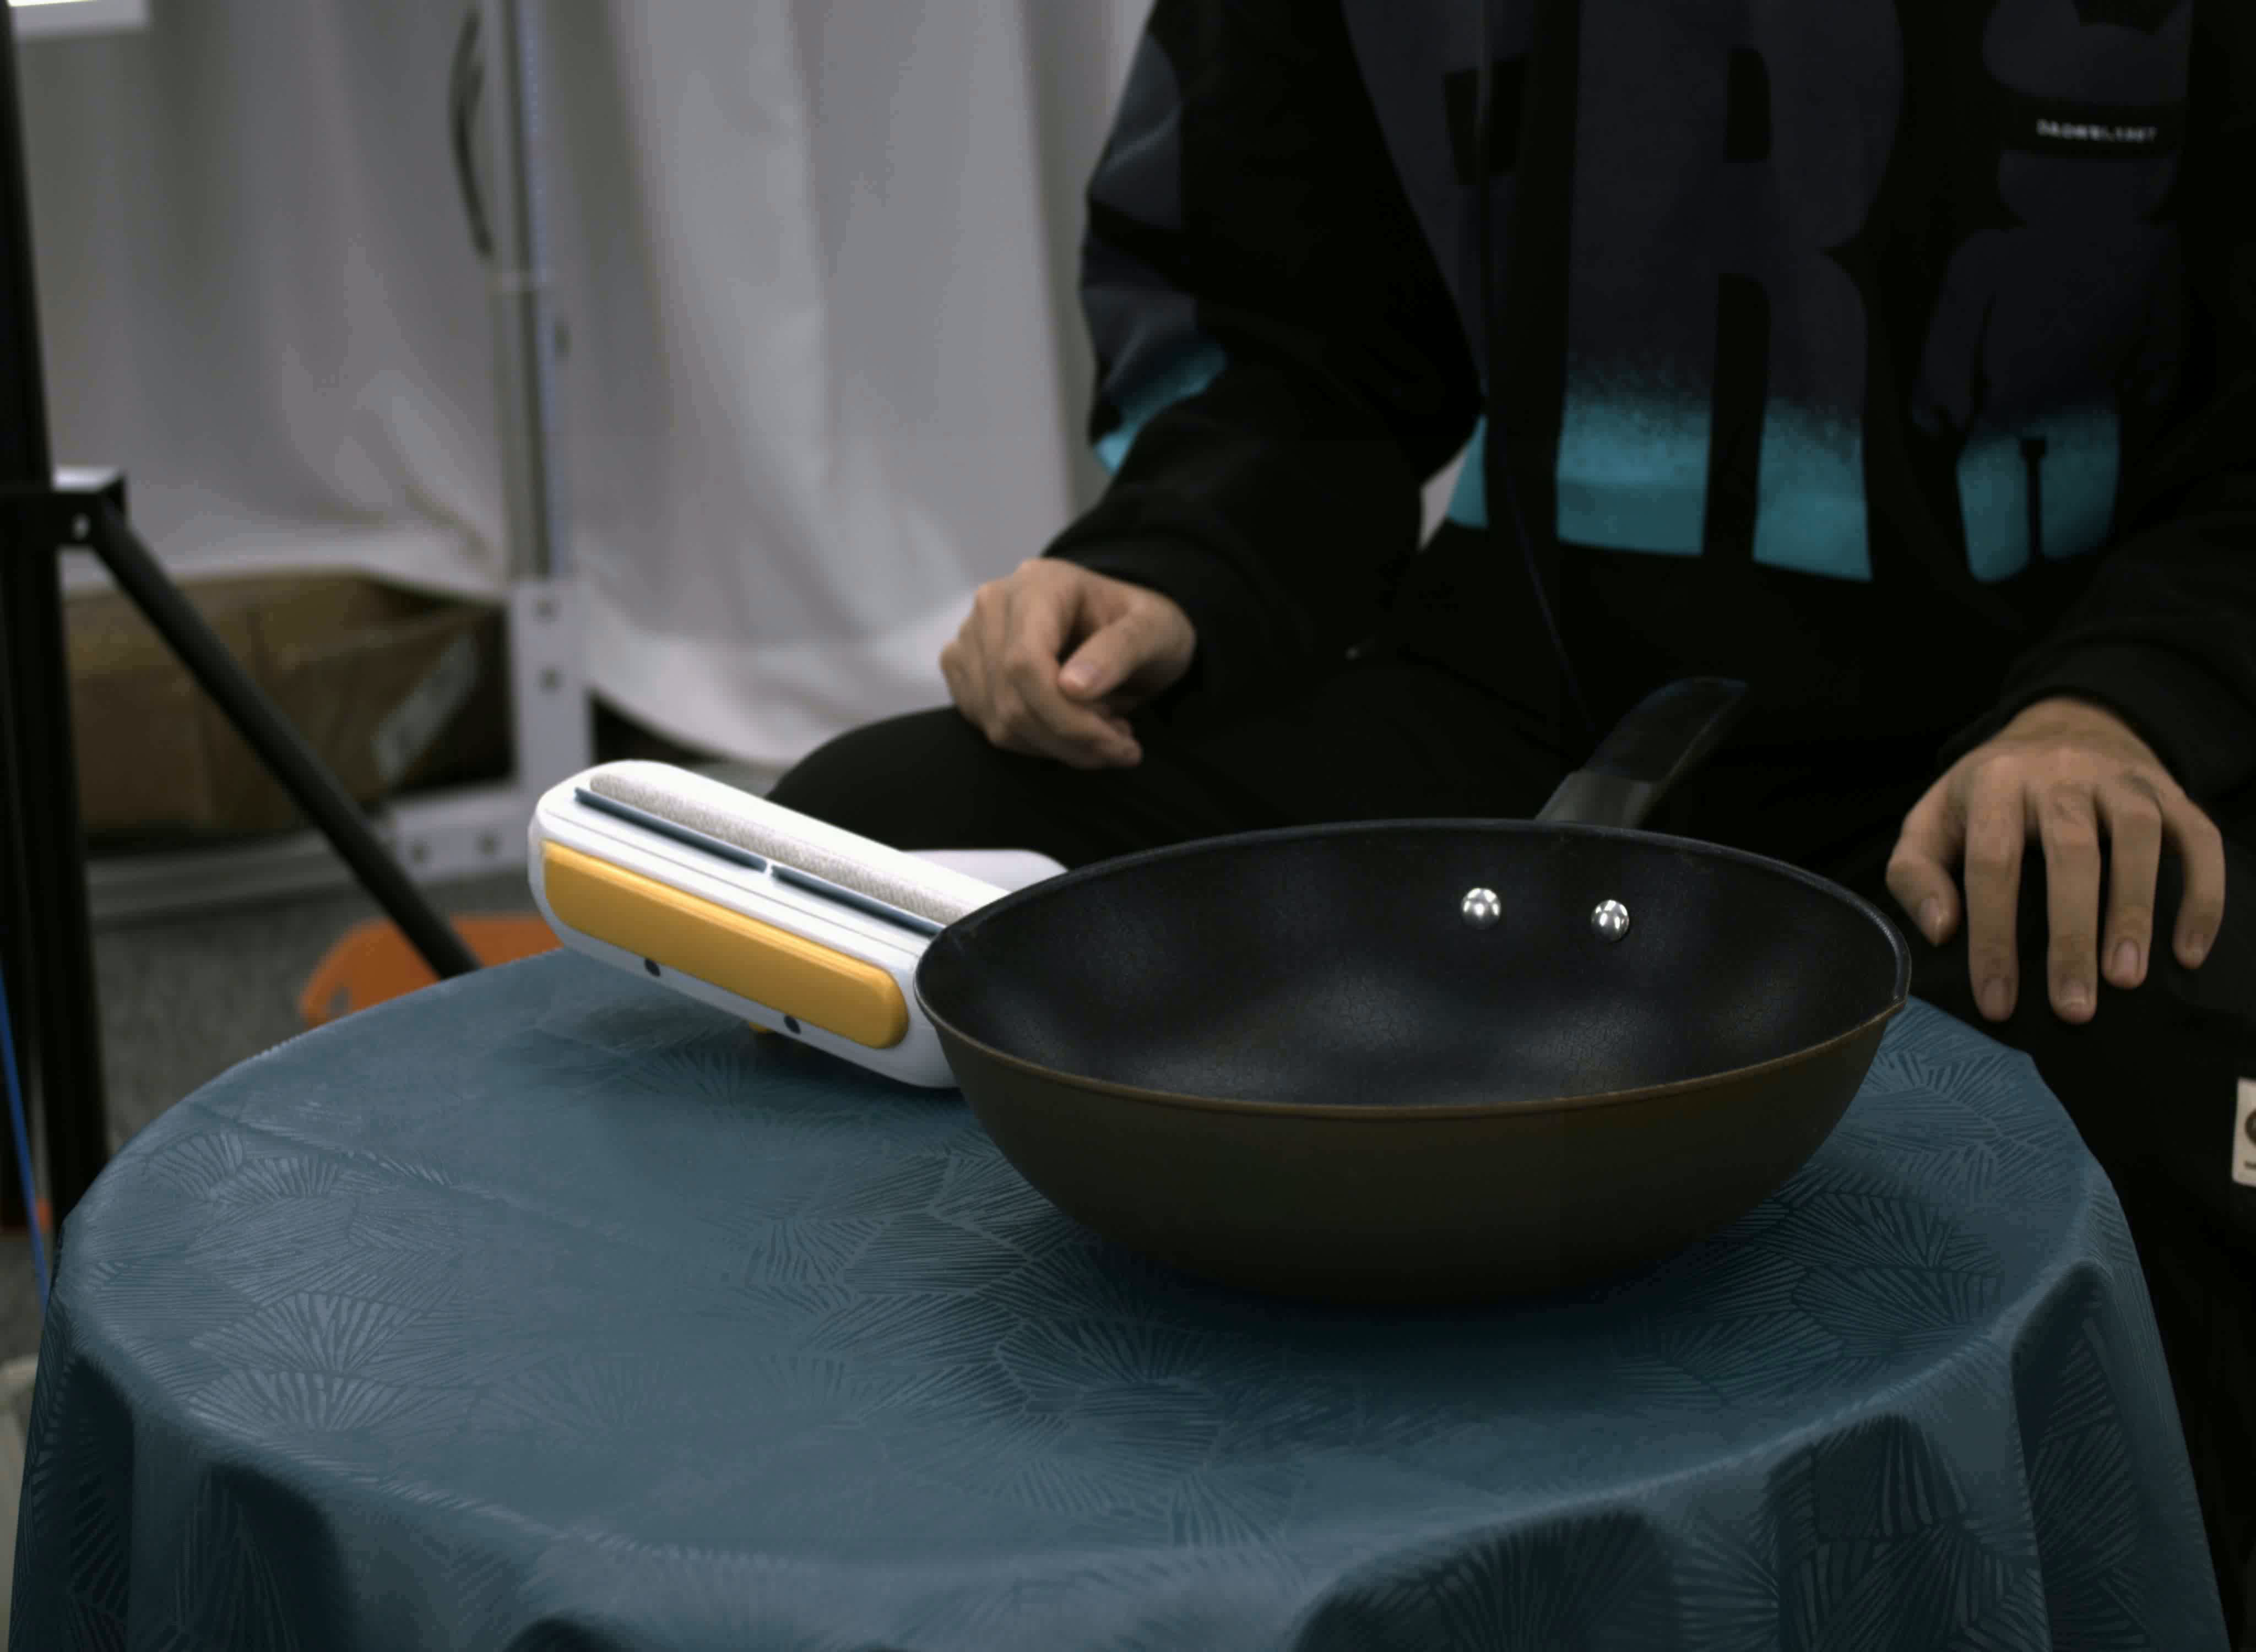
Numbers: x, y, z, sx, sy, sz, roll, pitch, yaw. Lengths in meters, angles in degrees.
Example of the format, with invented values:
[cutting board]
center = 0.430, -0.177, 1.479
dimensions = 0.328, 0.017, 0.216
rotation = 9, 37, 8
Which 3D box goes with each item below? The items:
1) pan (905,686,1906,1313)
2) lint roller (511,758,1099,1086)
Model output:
[pan]
center = 0.113, 0.050, 1.591
dimensions = 0.292, 0.087, 0.457
rotation = 4, 17, 22
[lint roller]
center = -0.078, 0.023, 1.746
dimensions = 0.197, 0.074, 0.188
rotation = 17, 23, 37
